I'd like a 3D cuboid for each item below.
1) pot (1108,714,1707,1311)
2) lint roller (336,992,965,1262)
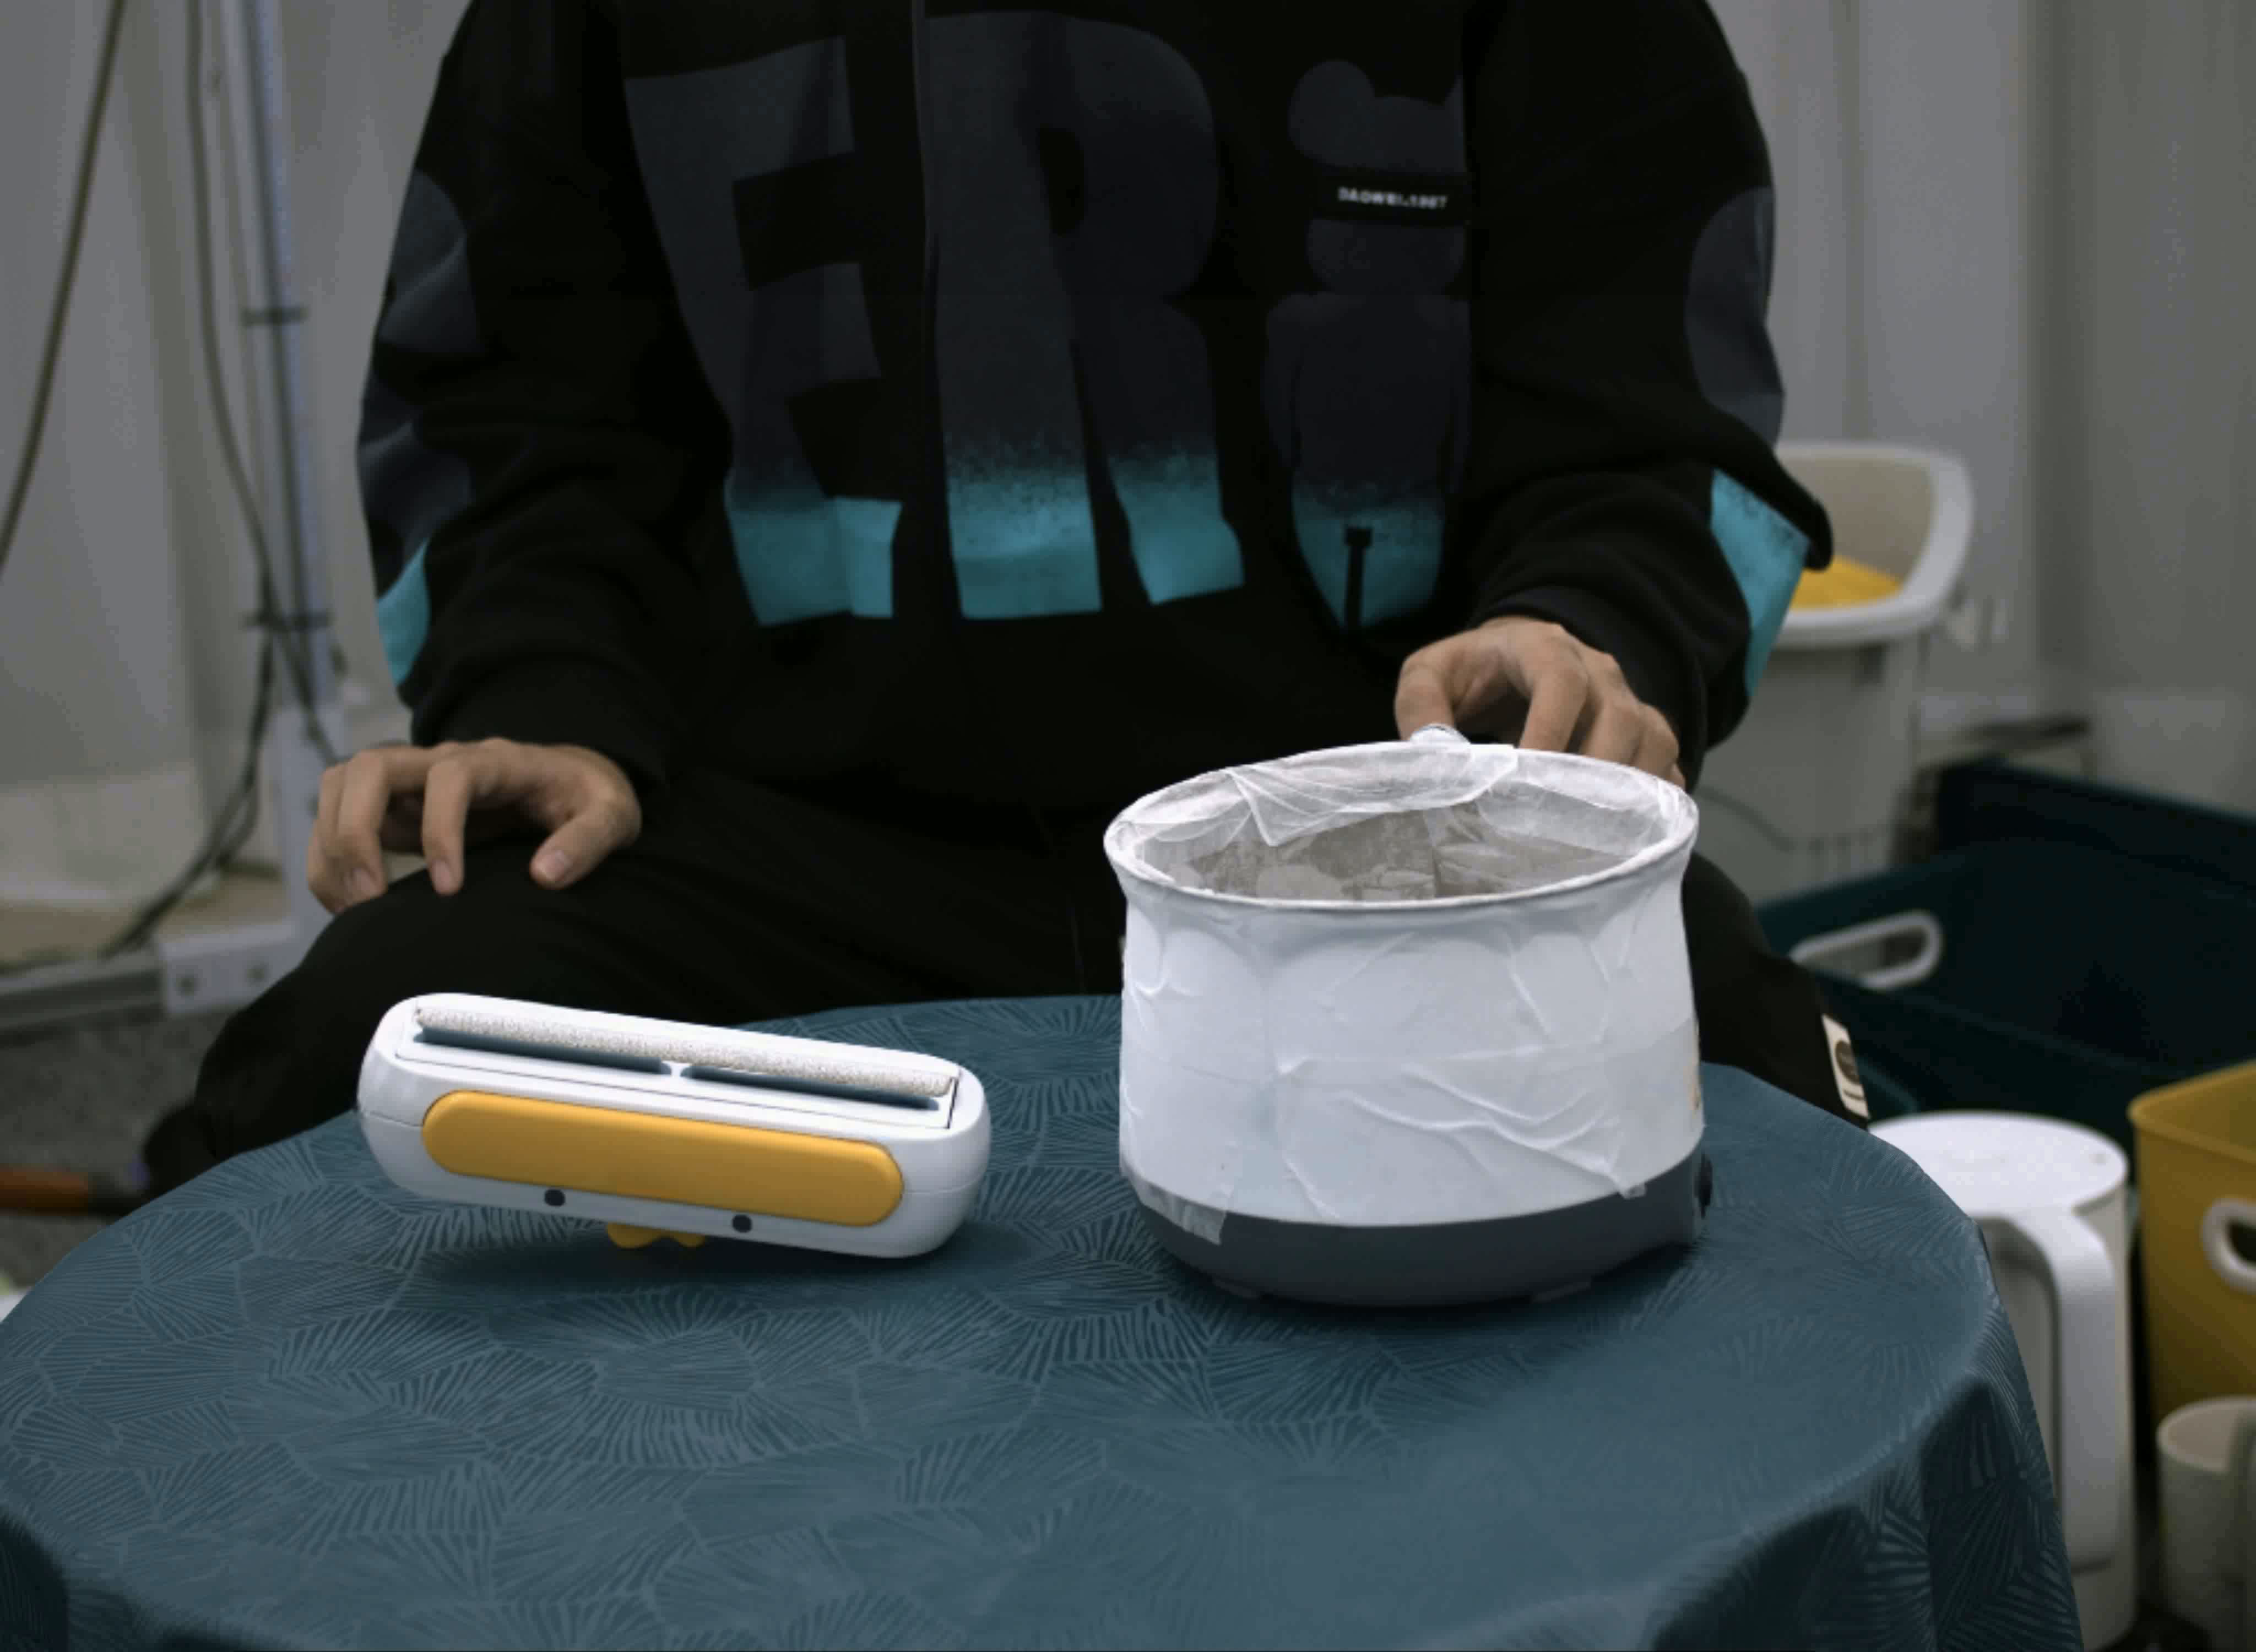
[{"bbox_3d":[0.088,0.051,1.664,0.178,0.136,0.235,1,16,8],"label":"pot"},{"bbox_3d":[-0.140,0.084,1.727,0.192,0.074,0.193,4,14,6],"label":"lint roller"}]
